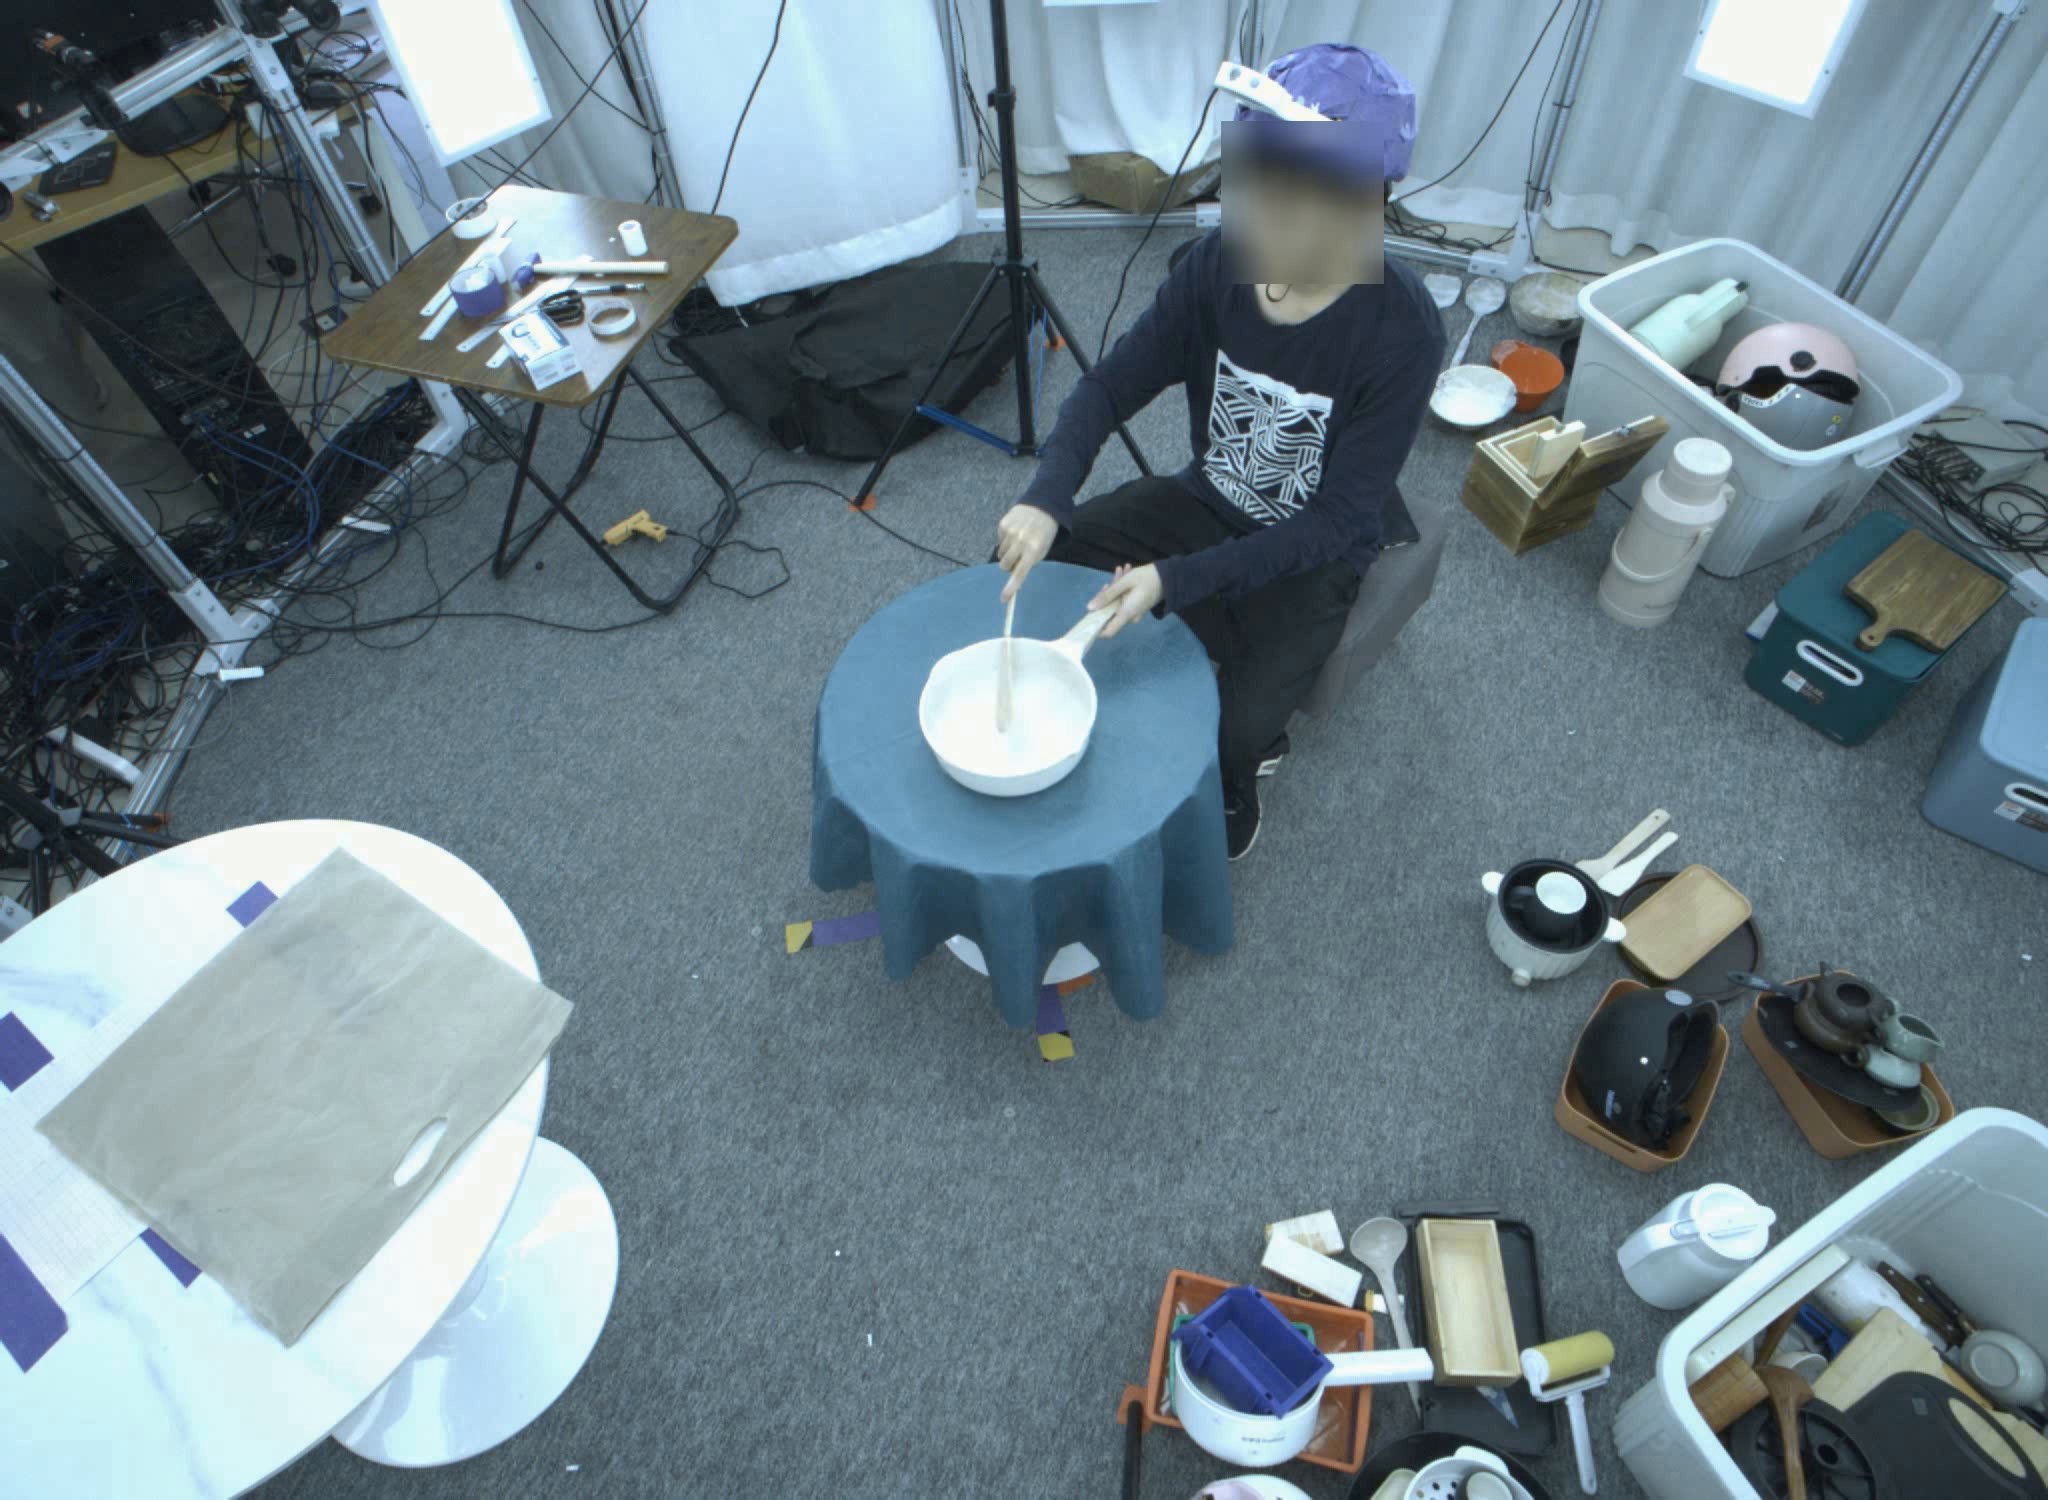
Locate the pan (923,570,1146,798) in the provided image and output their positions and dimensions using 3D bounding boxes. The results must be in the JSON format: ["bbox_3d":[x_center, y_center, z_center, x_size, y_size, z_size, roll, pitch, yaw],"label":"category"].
[{"bbox_3d":[0.043,-0.101,1.798,0.259,0.103,0.437,33,61,24],"label":"pan"}]

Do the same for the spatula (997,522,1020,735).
[{"bbox_3d":[-0.019,-0.174,1.740,0.017,0.079,0.326,8,73,-14],"label":"spatula"}]
